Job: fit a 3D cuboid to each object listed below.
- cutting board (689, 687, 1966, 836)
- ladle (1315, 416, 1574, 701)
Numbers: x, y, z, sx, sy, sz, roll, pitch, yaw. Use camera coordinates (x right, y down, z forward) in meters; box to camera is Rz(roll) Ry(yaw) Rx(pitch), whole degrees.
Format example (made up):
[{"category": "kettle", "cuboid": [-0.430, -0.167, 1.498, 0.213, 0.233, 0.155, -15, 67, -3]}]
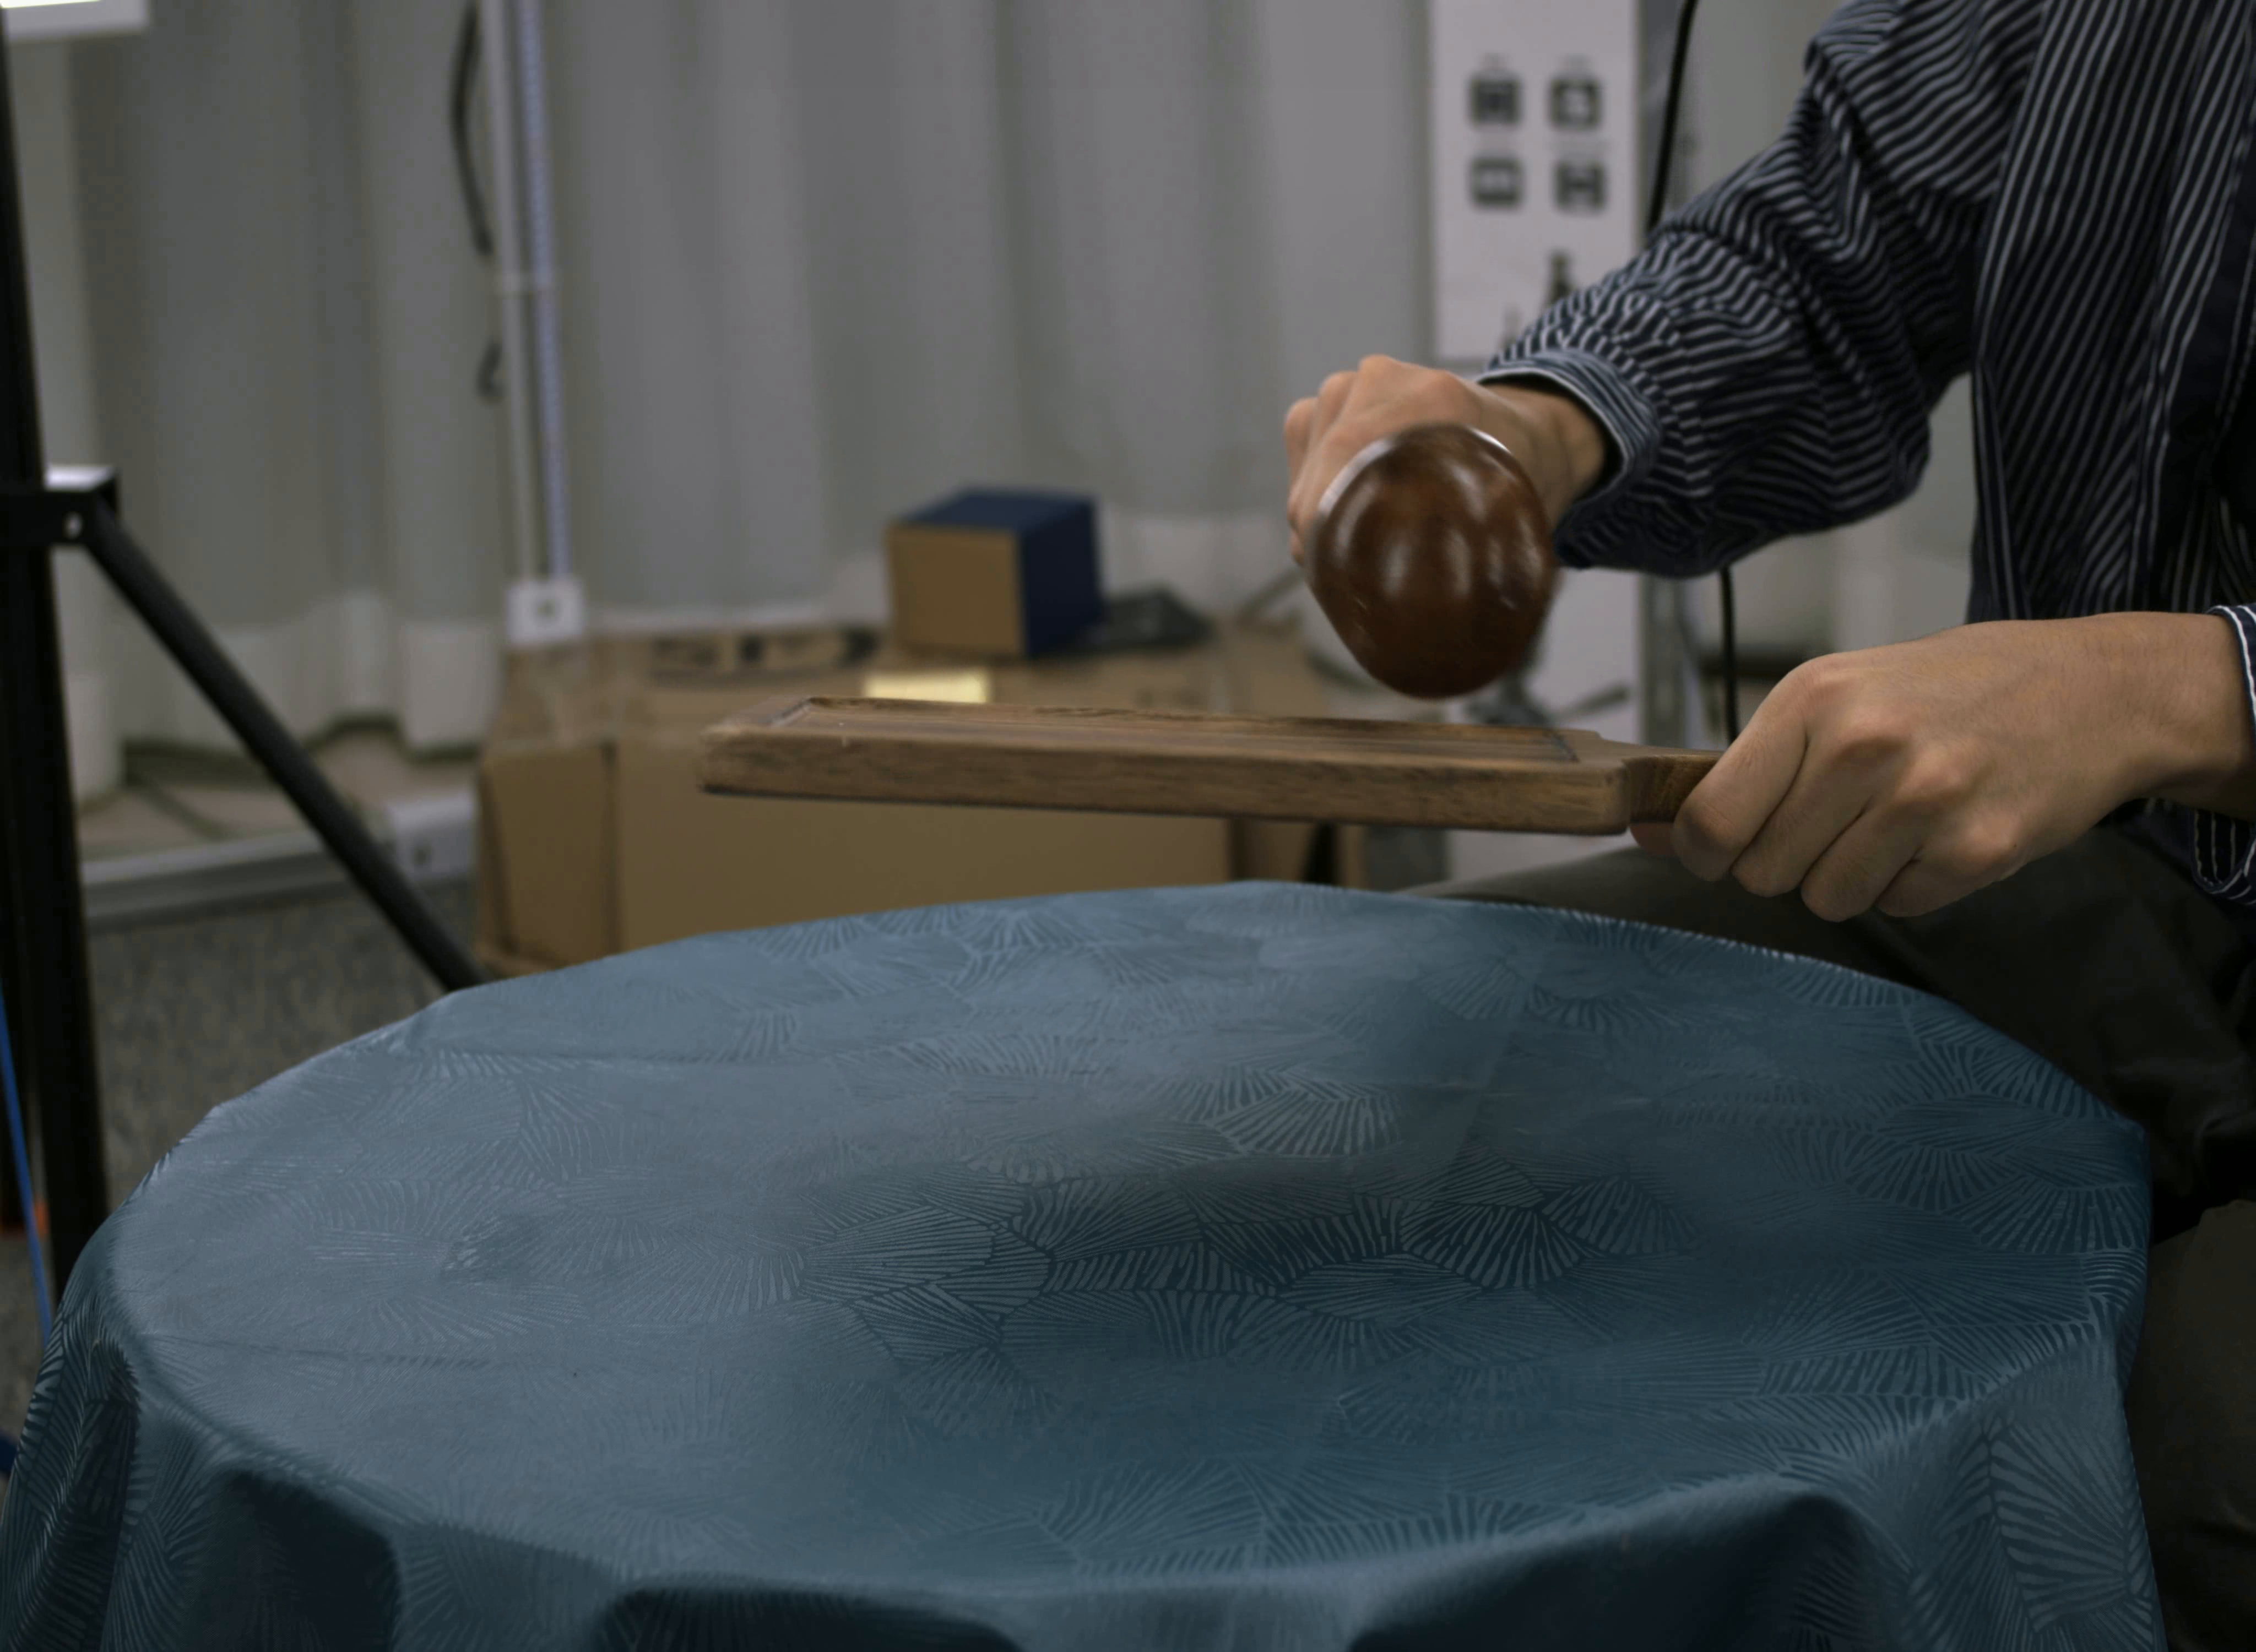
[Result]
[{"category": "cutting board", "cuboid": [0.059, -0.016, 1.493, 0.352, 0.023, 0.200, 3, 4, 4]}, {"category": "ladle", "cuboid": [0.100, -0.088, 1.638, 0.076, 0.082, 0.273, 10, 7, 4]}]
